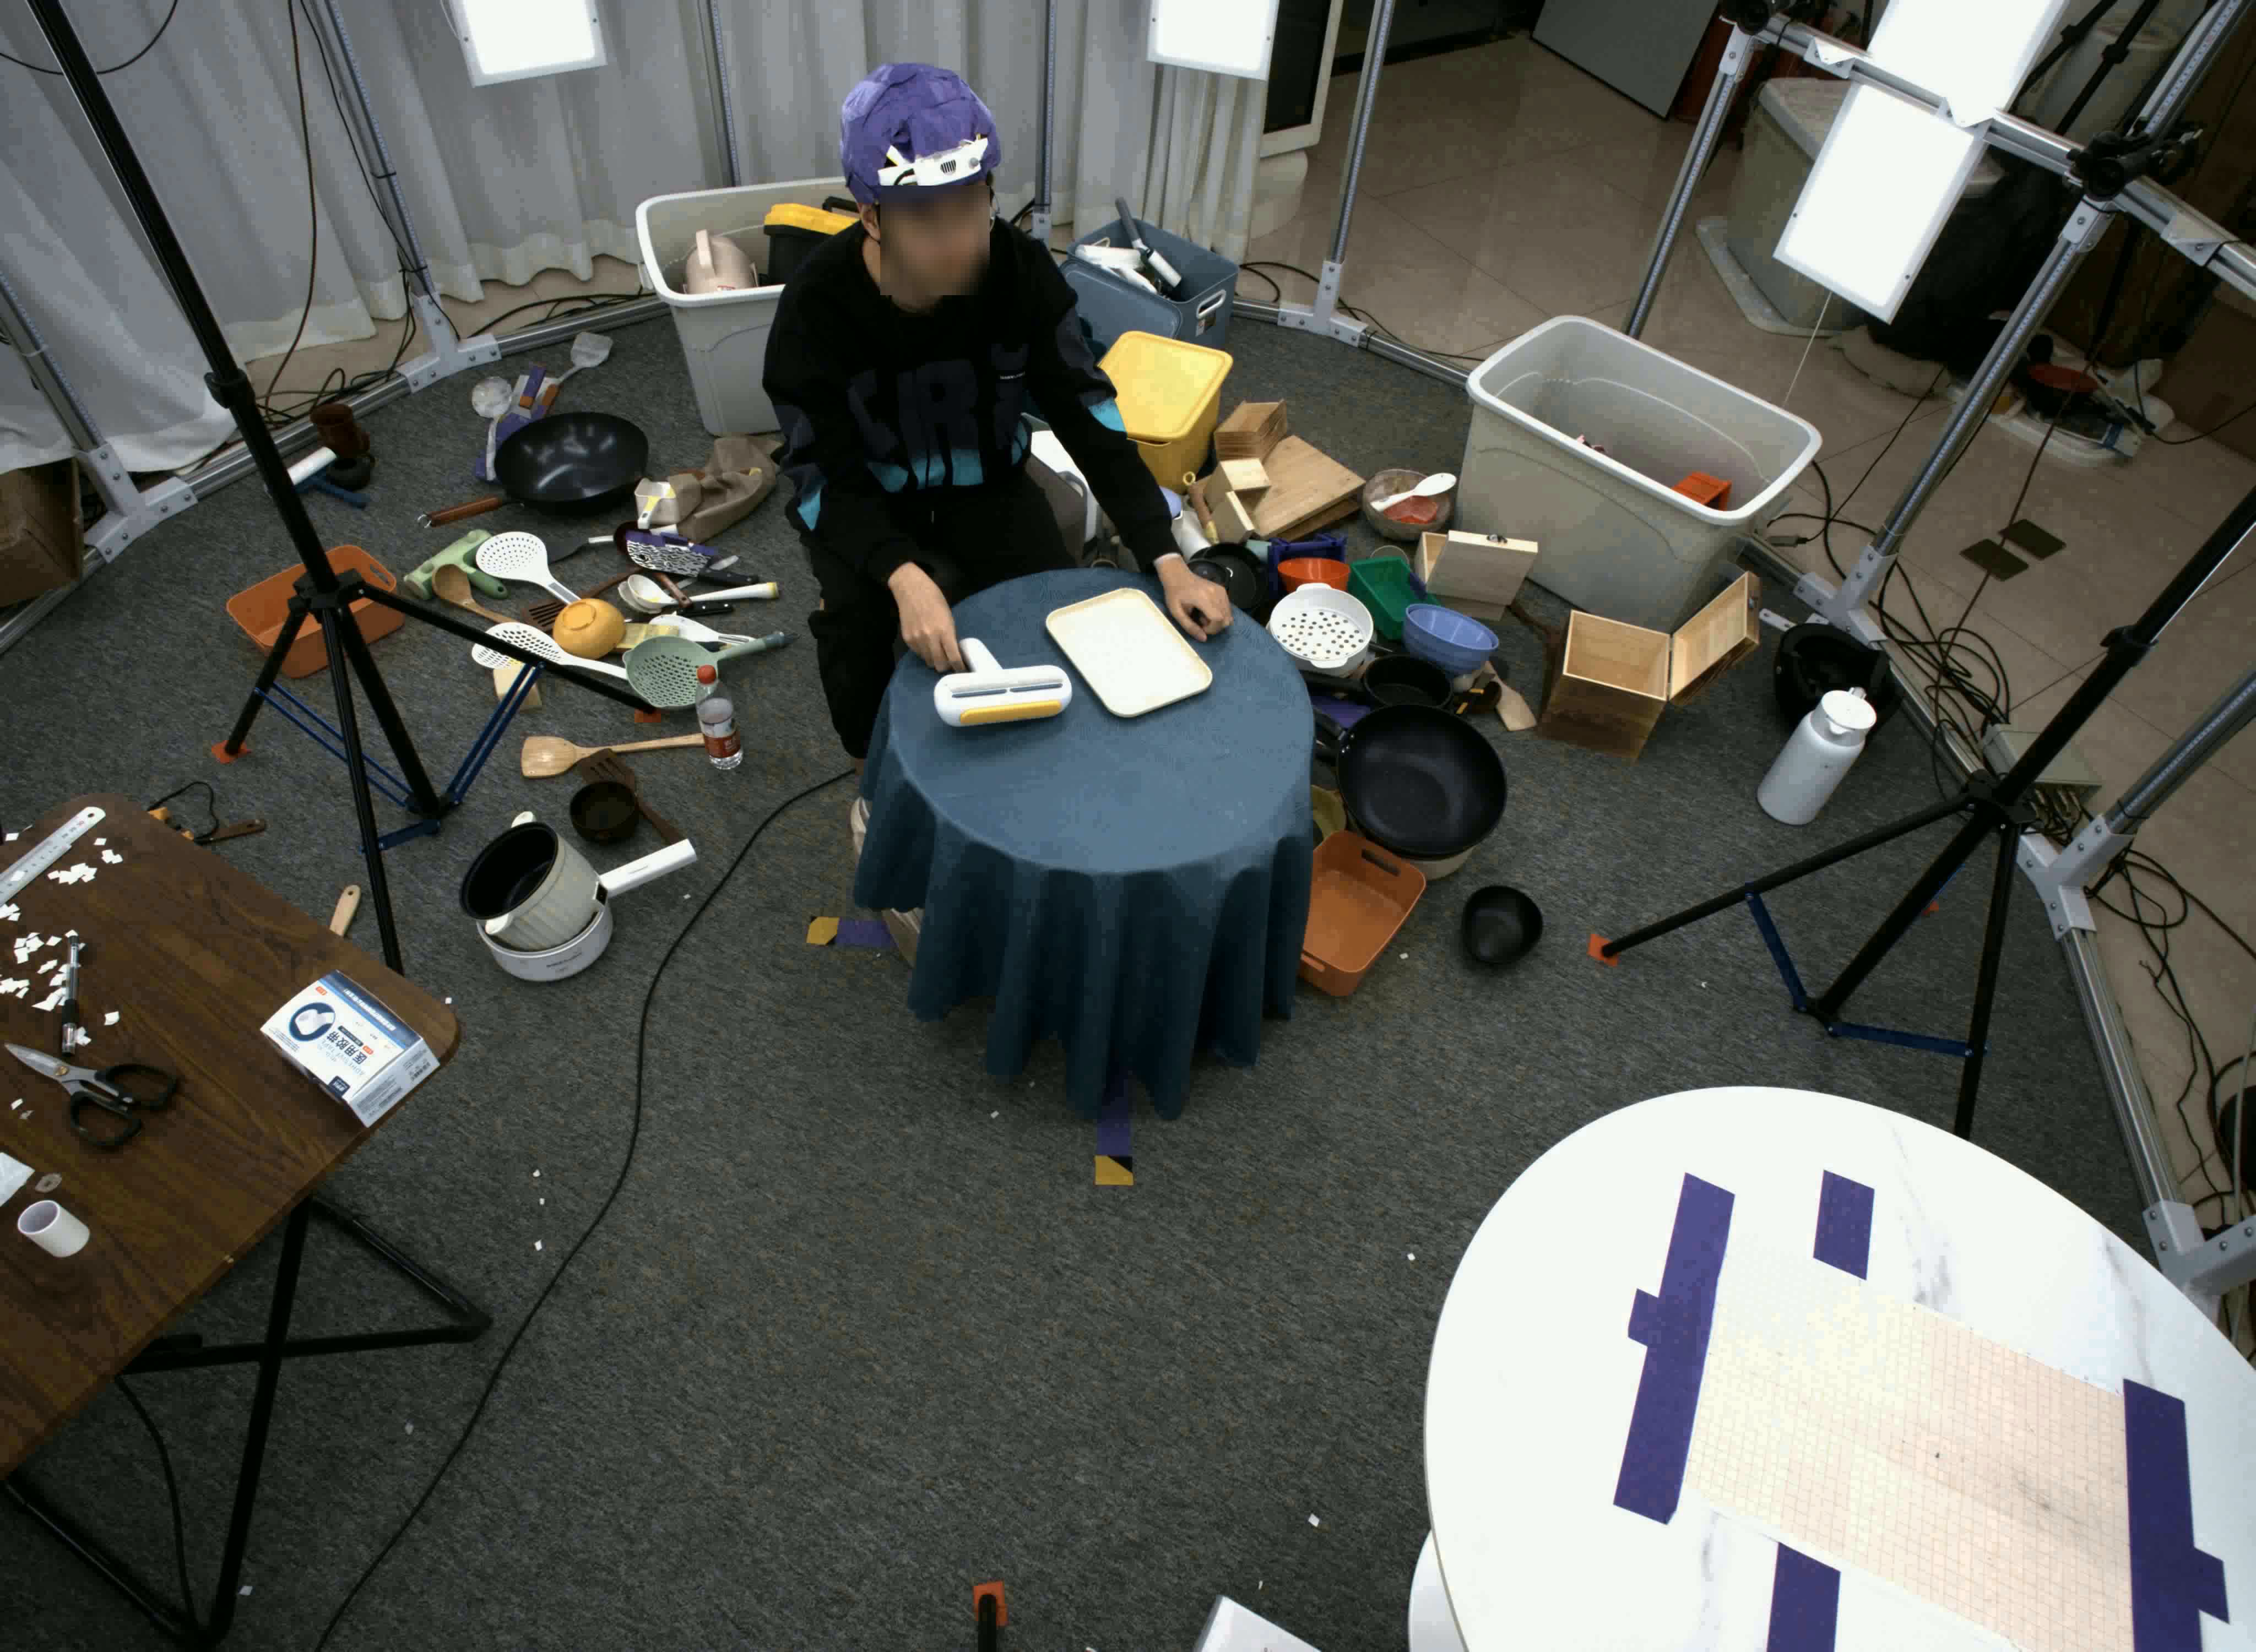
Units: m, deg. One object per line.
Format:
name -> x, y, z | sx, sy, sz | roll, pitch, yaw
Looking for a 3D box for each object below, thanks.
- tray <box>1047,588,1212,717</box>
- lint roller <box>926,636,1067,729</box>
tray -> 0.000, -0.255, 1.878 | 0.172, 0.017, 0.245 | -21, 54, -20
lint roller -> -0.196, -0.215, 1.798 | 0.192, 0.072, 0.197 | -9, 49, -18
